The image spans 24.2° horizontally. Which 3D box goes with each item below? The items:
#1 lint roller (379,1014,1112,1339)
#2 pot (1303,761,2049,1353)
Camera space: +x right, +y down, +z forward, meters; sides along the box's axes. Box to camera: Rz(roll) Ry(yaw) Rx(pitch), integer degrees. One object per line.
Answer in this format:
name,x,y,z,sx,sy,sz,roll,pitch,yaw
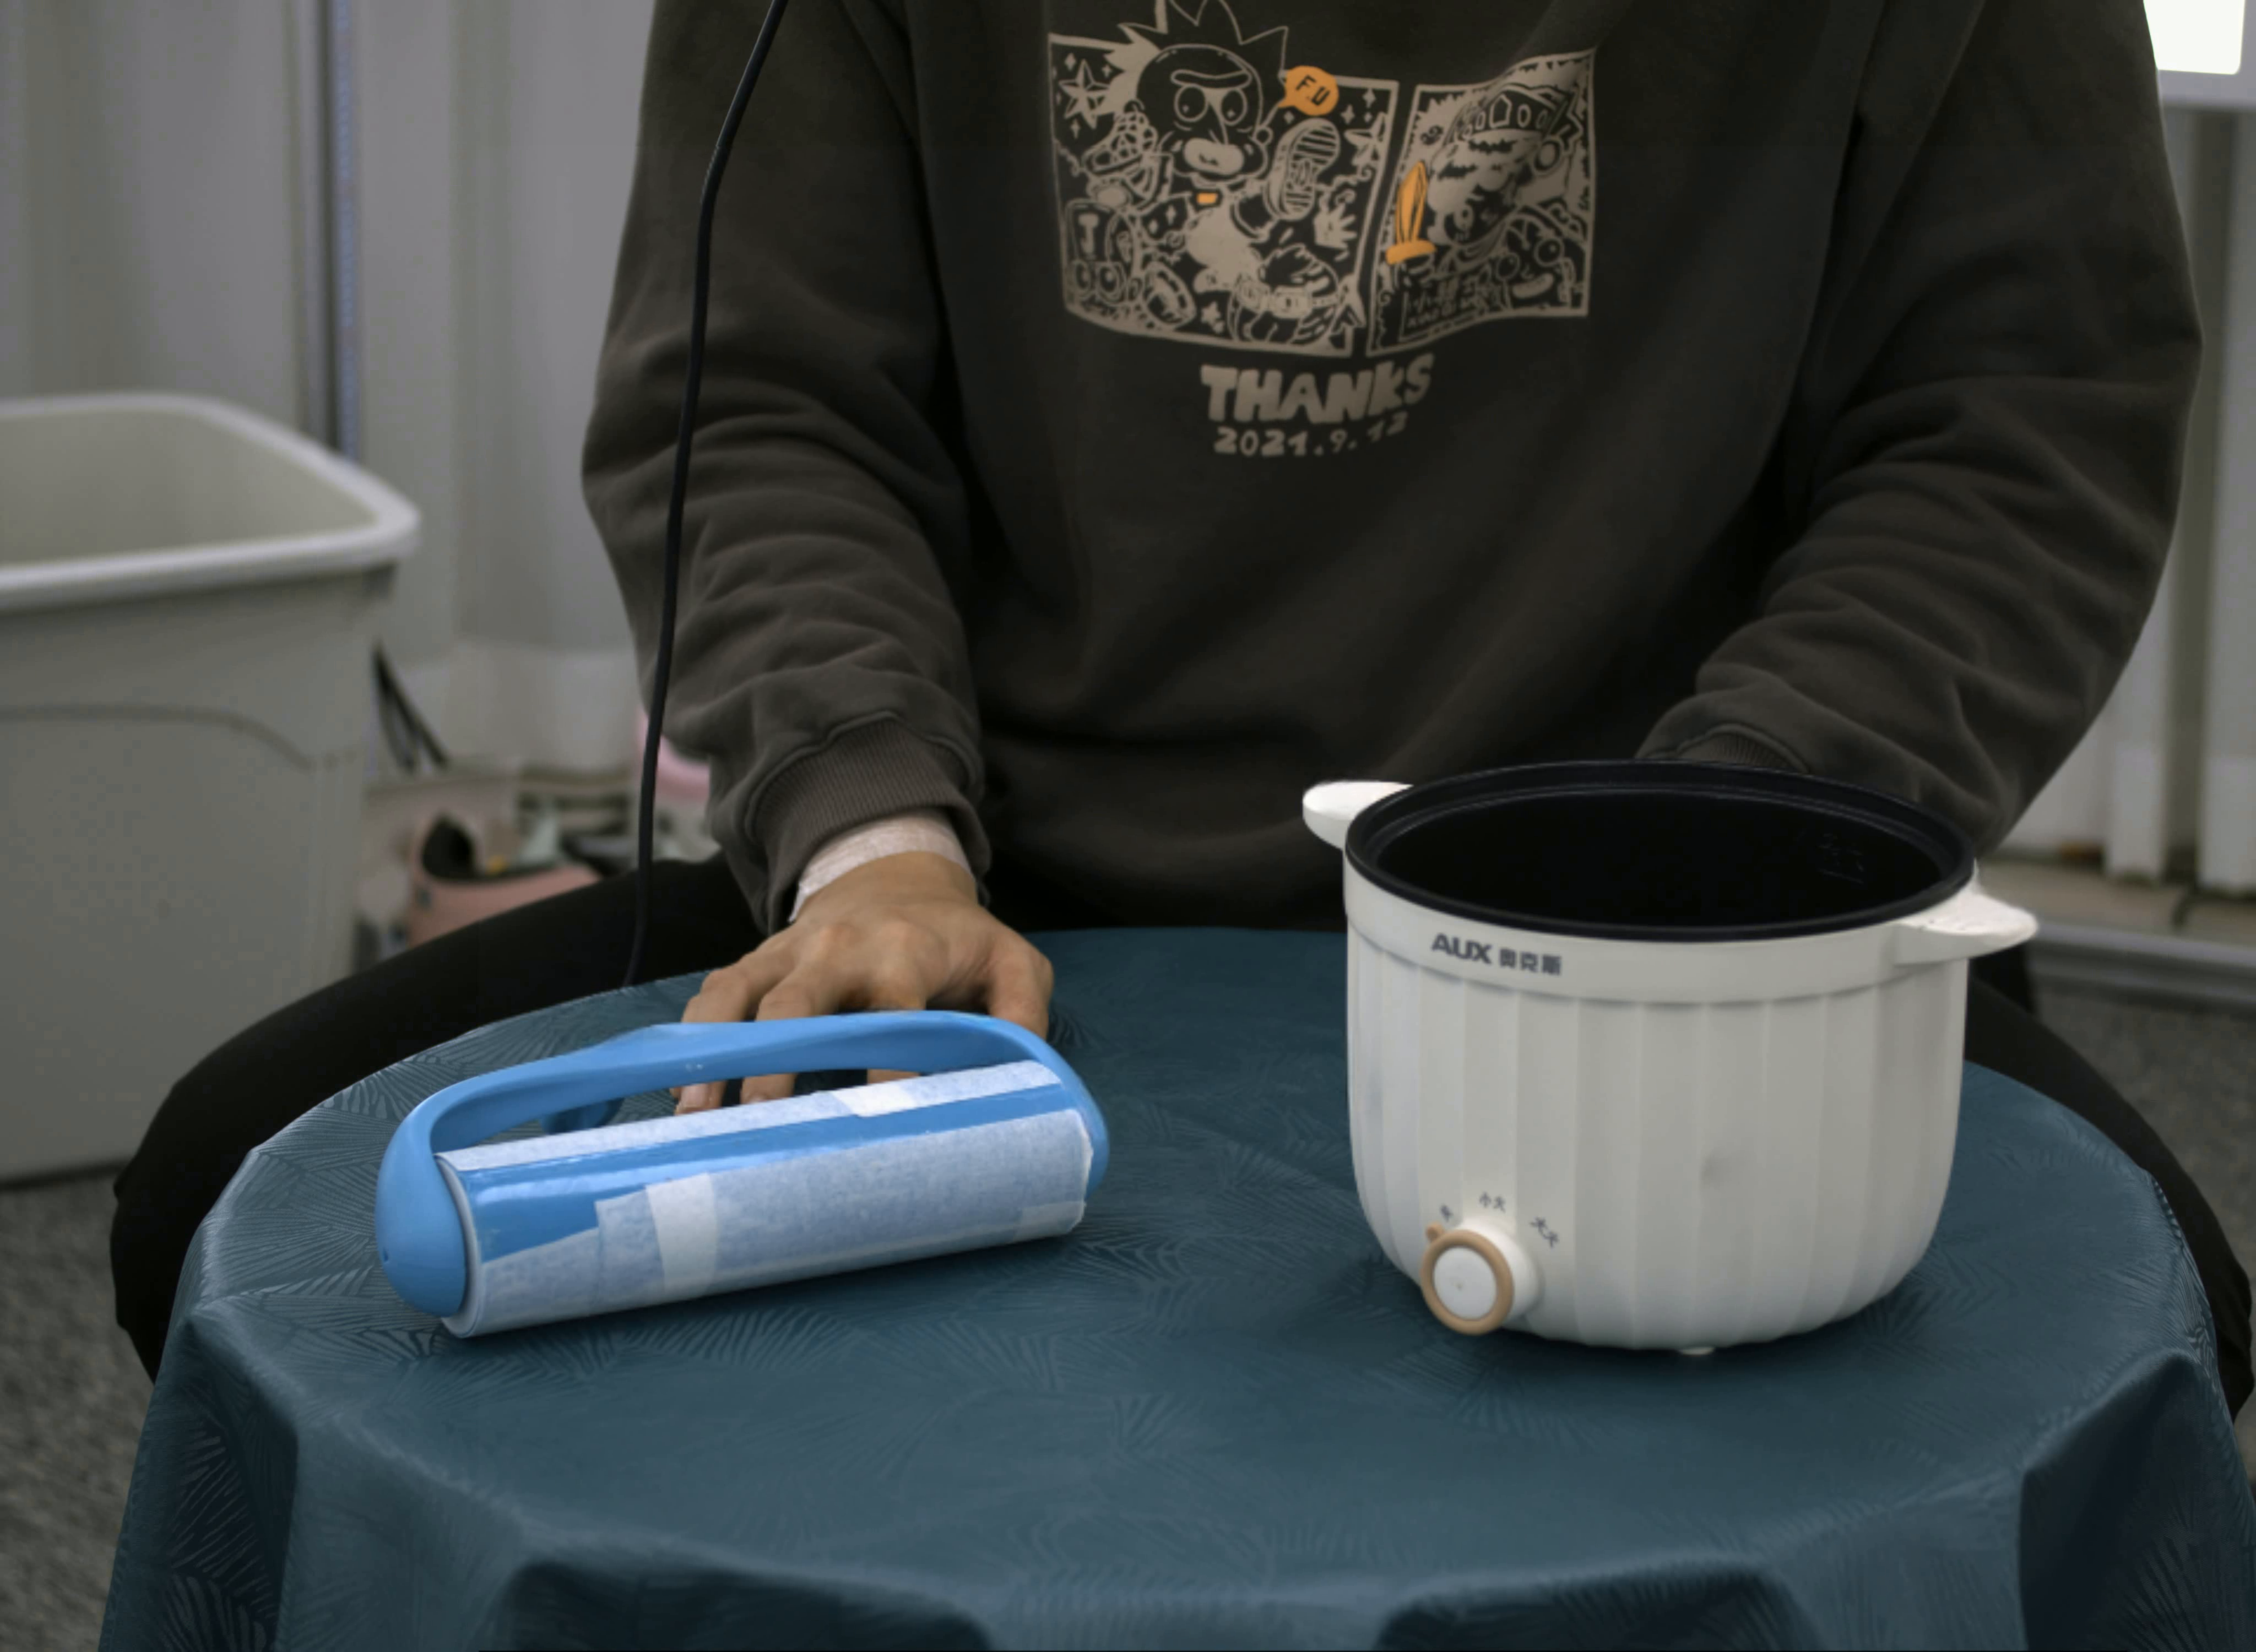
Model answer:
lint roller,-0.138,0.092,1.590,0.230,0.068,0.178,-10,20,-29
pot,0.151,0.069,1.532,0.237,0.143,0.191,10,15,33
